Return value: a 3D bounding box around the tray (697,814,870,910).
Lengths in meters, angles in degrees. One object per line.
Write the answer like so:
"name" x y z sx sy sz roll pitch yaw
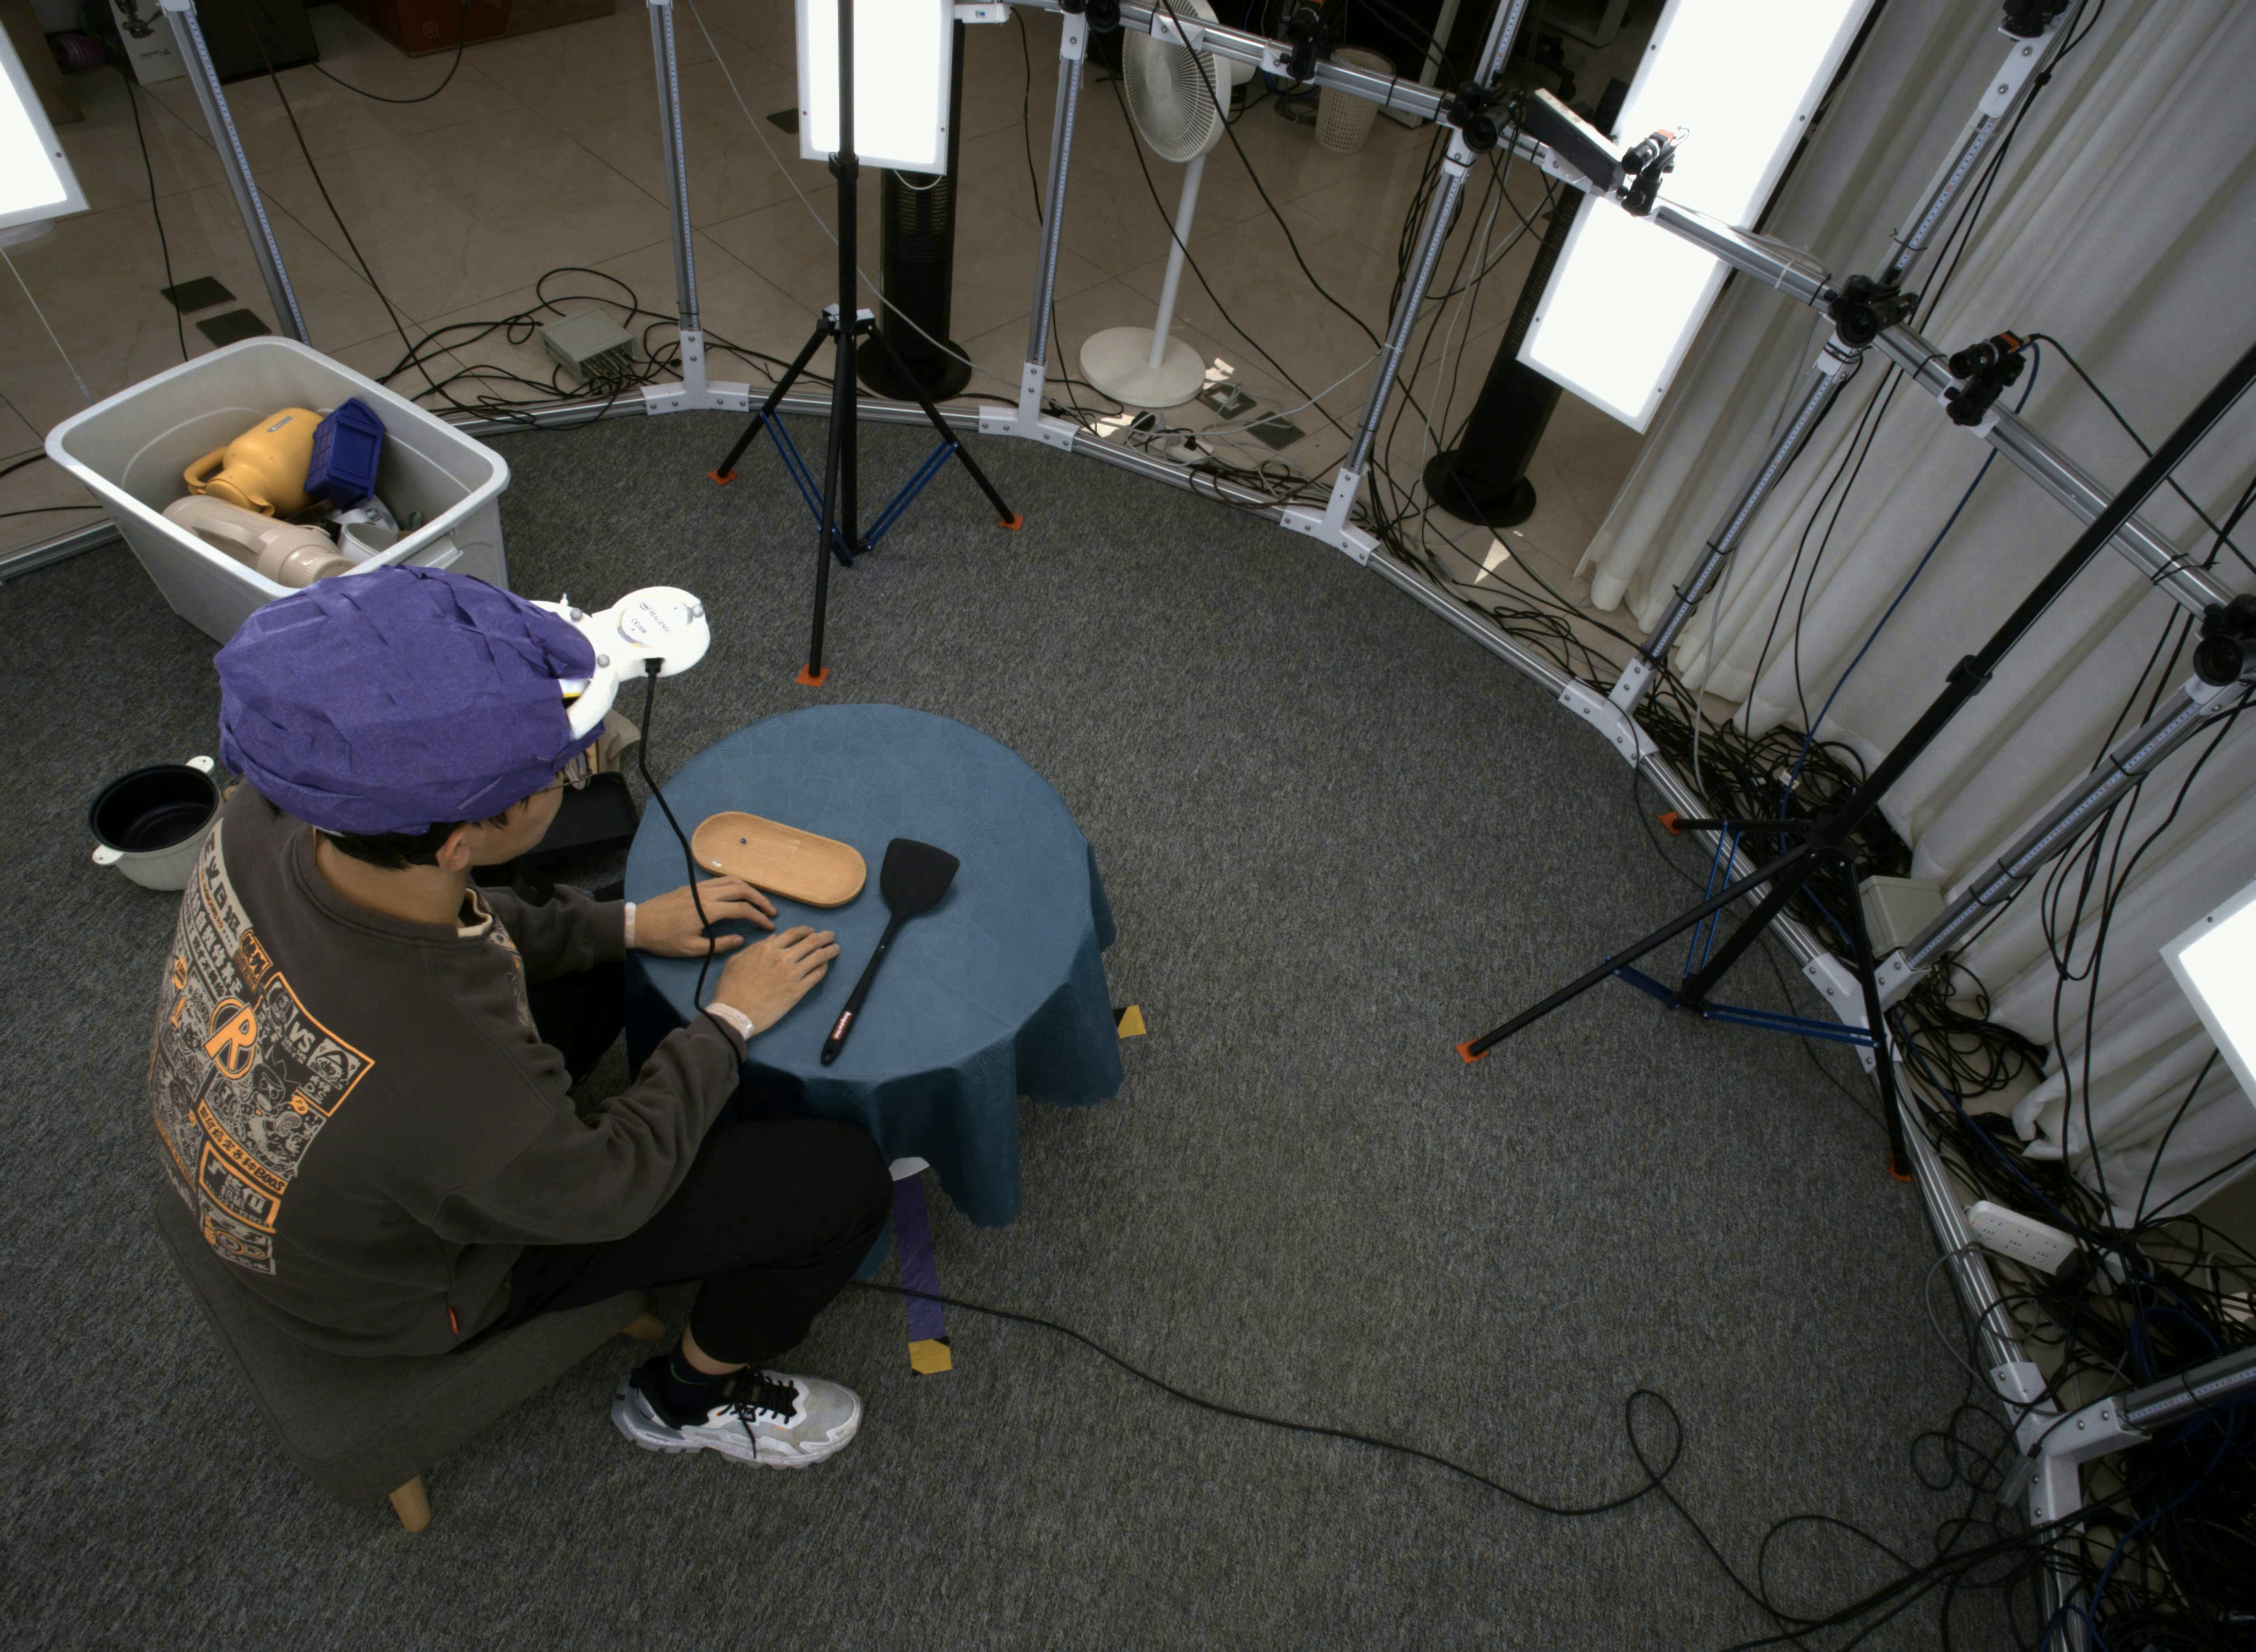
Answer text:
"tray" -0.449 0.046 1.689 0.229 0.021 0.100 18 53 -2

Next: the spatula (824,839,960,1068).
"spatula" -0.310 0.155 1.629 0.098 0.041 0.323 19 52 3
